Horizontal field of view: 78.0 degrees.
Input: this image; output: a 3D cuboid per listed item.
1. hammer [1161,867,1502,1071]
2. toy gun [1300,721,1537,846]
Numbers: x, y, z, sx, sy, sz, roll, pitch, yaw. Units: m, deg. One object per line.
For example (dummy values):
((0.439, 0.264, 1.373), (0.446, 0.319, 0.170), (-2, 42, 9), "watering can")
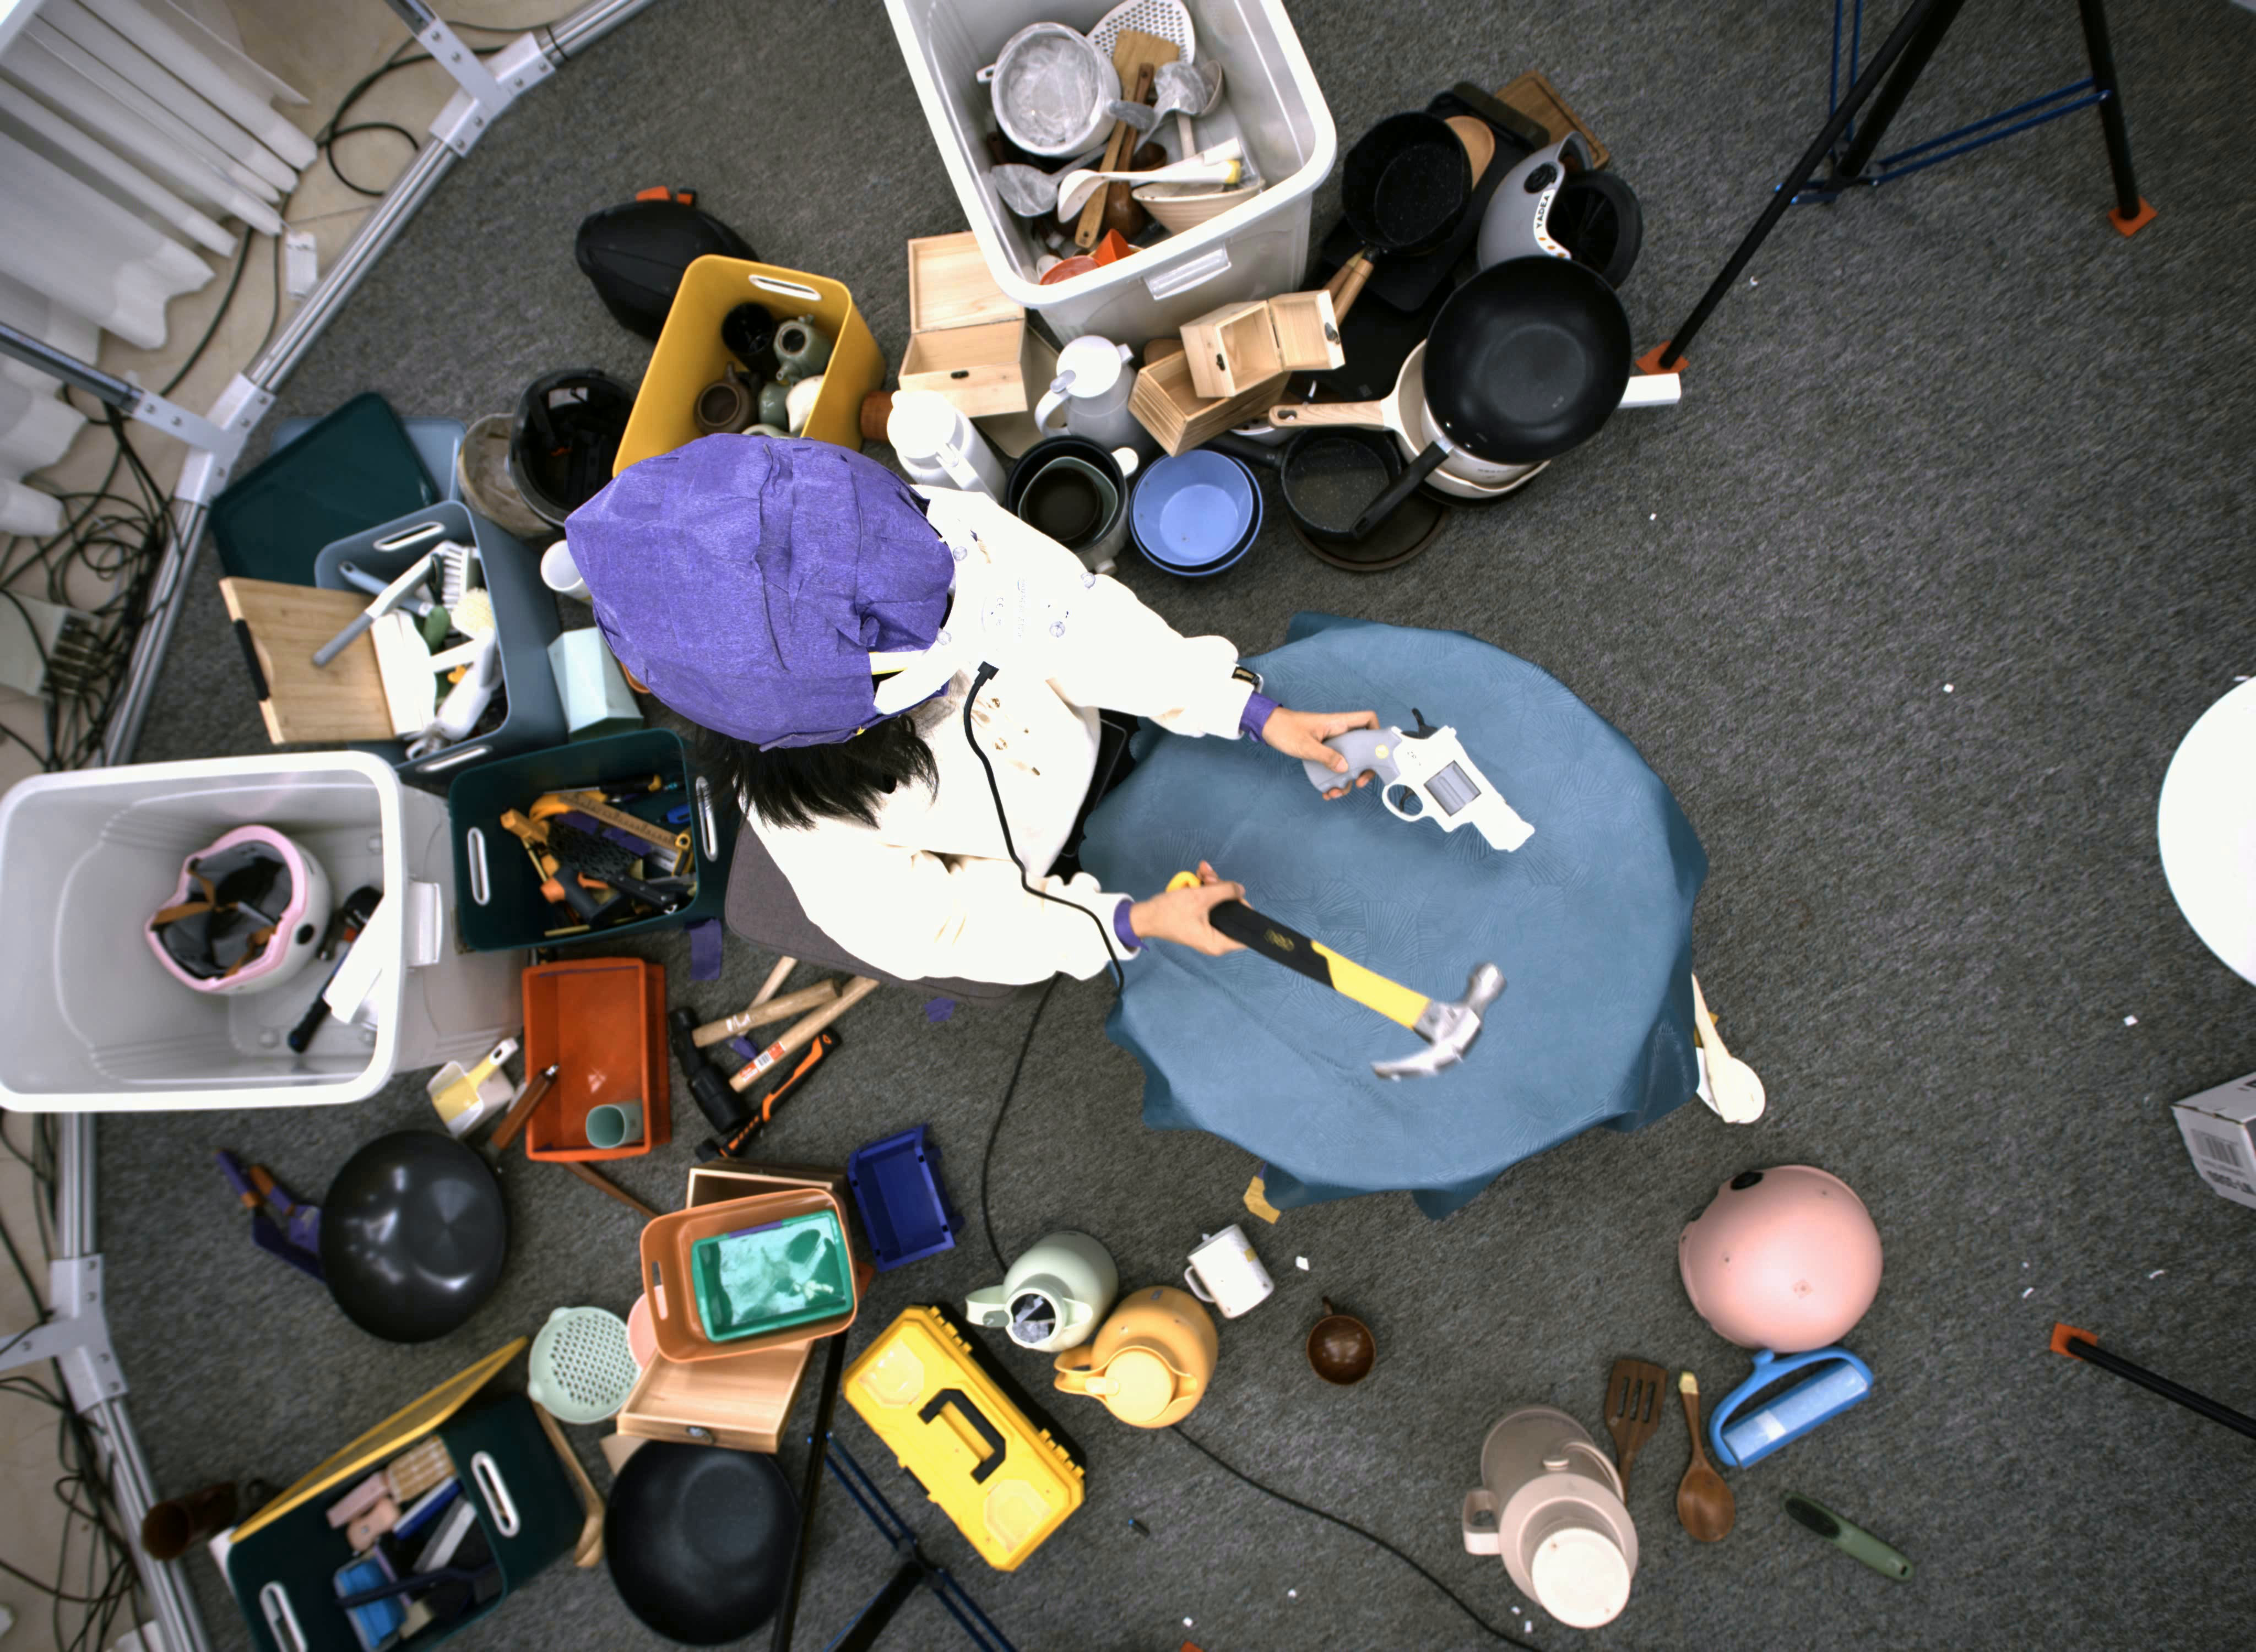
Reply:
((0.165, 0.115, 1.279), (0.337, 0.033, 0.130), (26, 76, 35), "hammer")
((0.285, -0.035, 1.367), (0.209, 0.038, 0.144), (48, 116, 2), "toy gun")
